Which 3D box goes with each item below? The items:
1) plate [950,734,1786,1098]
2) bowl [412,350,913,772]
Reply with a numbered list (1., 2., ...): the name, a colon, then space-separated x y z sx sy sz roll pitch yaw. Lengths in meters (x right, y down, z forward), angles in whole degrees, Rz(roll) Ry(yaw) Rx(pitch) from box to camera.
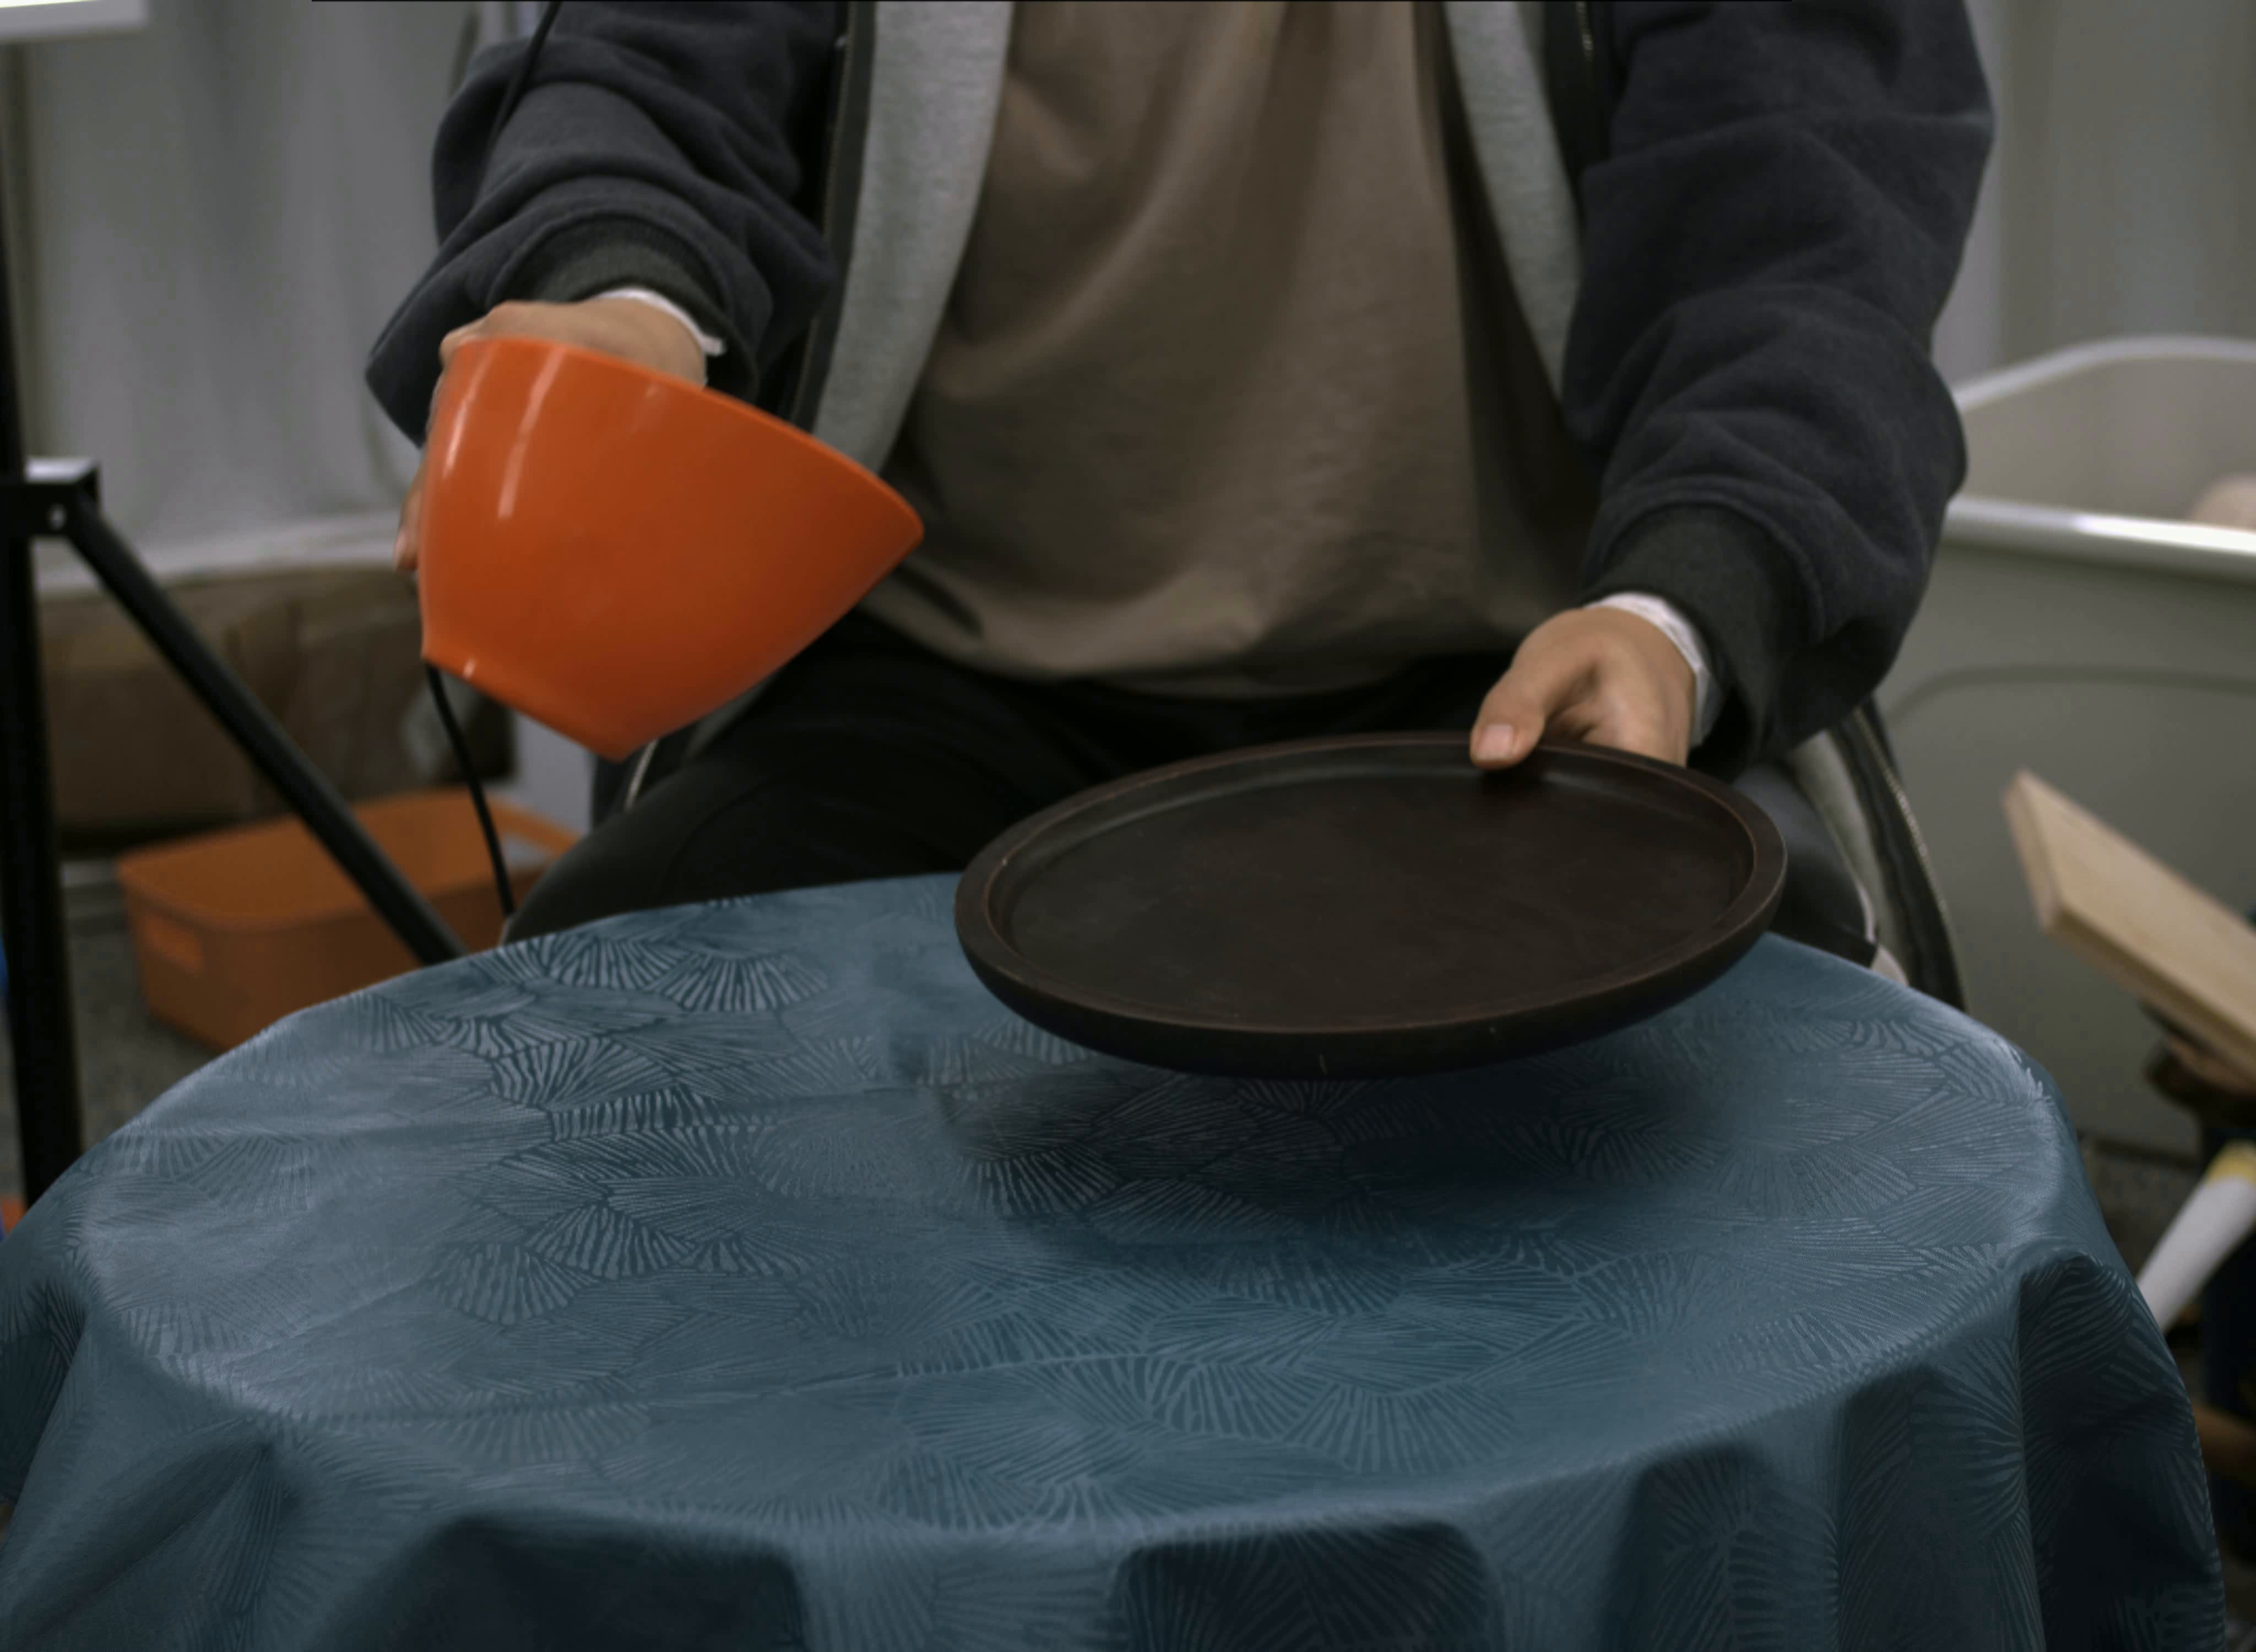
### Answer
1. plate: 0.073 0.025 1.608 0.254 0.029 0.256 -7 20 1
2. bowl: -0.150 -0.073 1.569 0.147 0.105 0.148 26 -2 -1
